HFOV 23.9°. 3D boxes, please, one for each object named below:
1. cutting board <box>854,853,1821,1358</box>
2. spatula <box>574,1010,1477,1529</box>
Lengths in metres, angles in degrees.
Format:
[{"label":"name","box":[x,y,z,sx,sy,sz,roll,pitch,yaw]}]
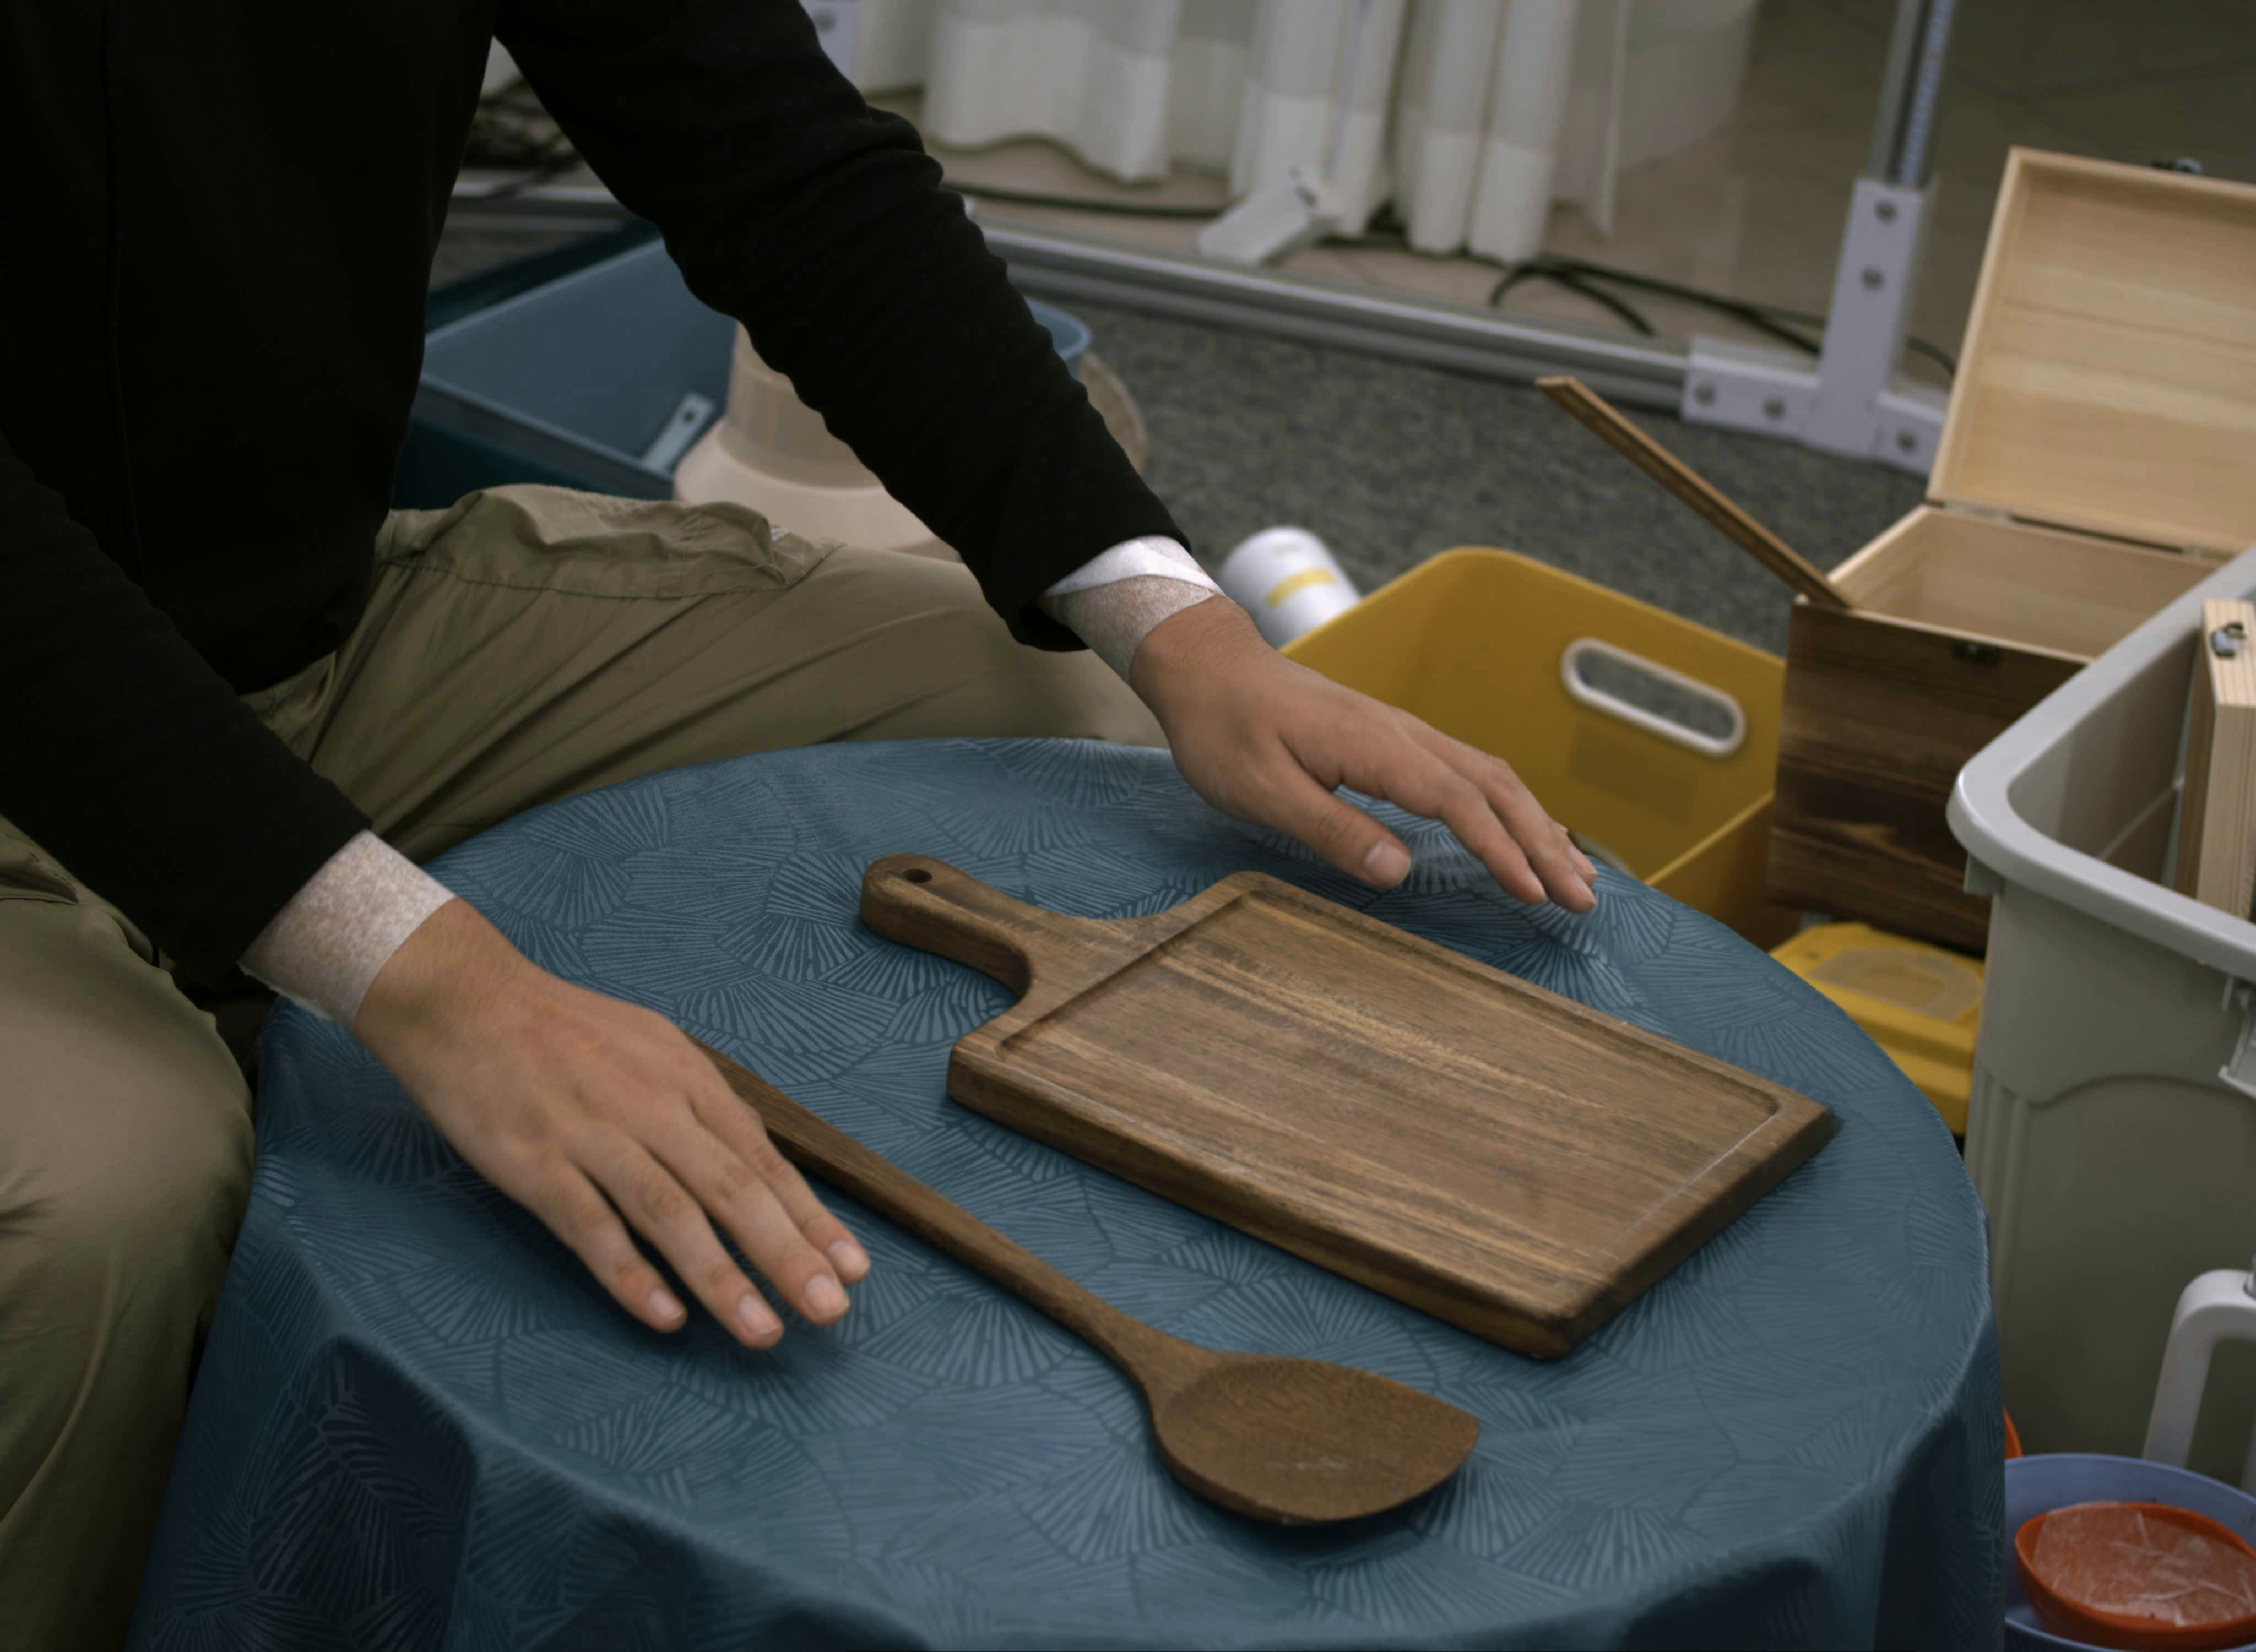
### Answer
[{"label":"cutting board","box":[0.050,0.078,1.879,0.354,0.023,0.200,22,30,28]},{"label":"spatula","box":[-0.051,0.137,1.748,0.389,0.016,0.095,28,33,36]}]
